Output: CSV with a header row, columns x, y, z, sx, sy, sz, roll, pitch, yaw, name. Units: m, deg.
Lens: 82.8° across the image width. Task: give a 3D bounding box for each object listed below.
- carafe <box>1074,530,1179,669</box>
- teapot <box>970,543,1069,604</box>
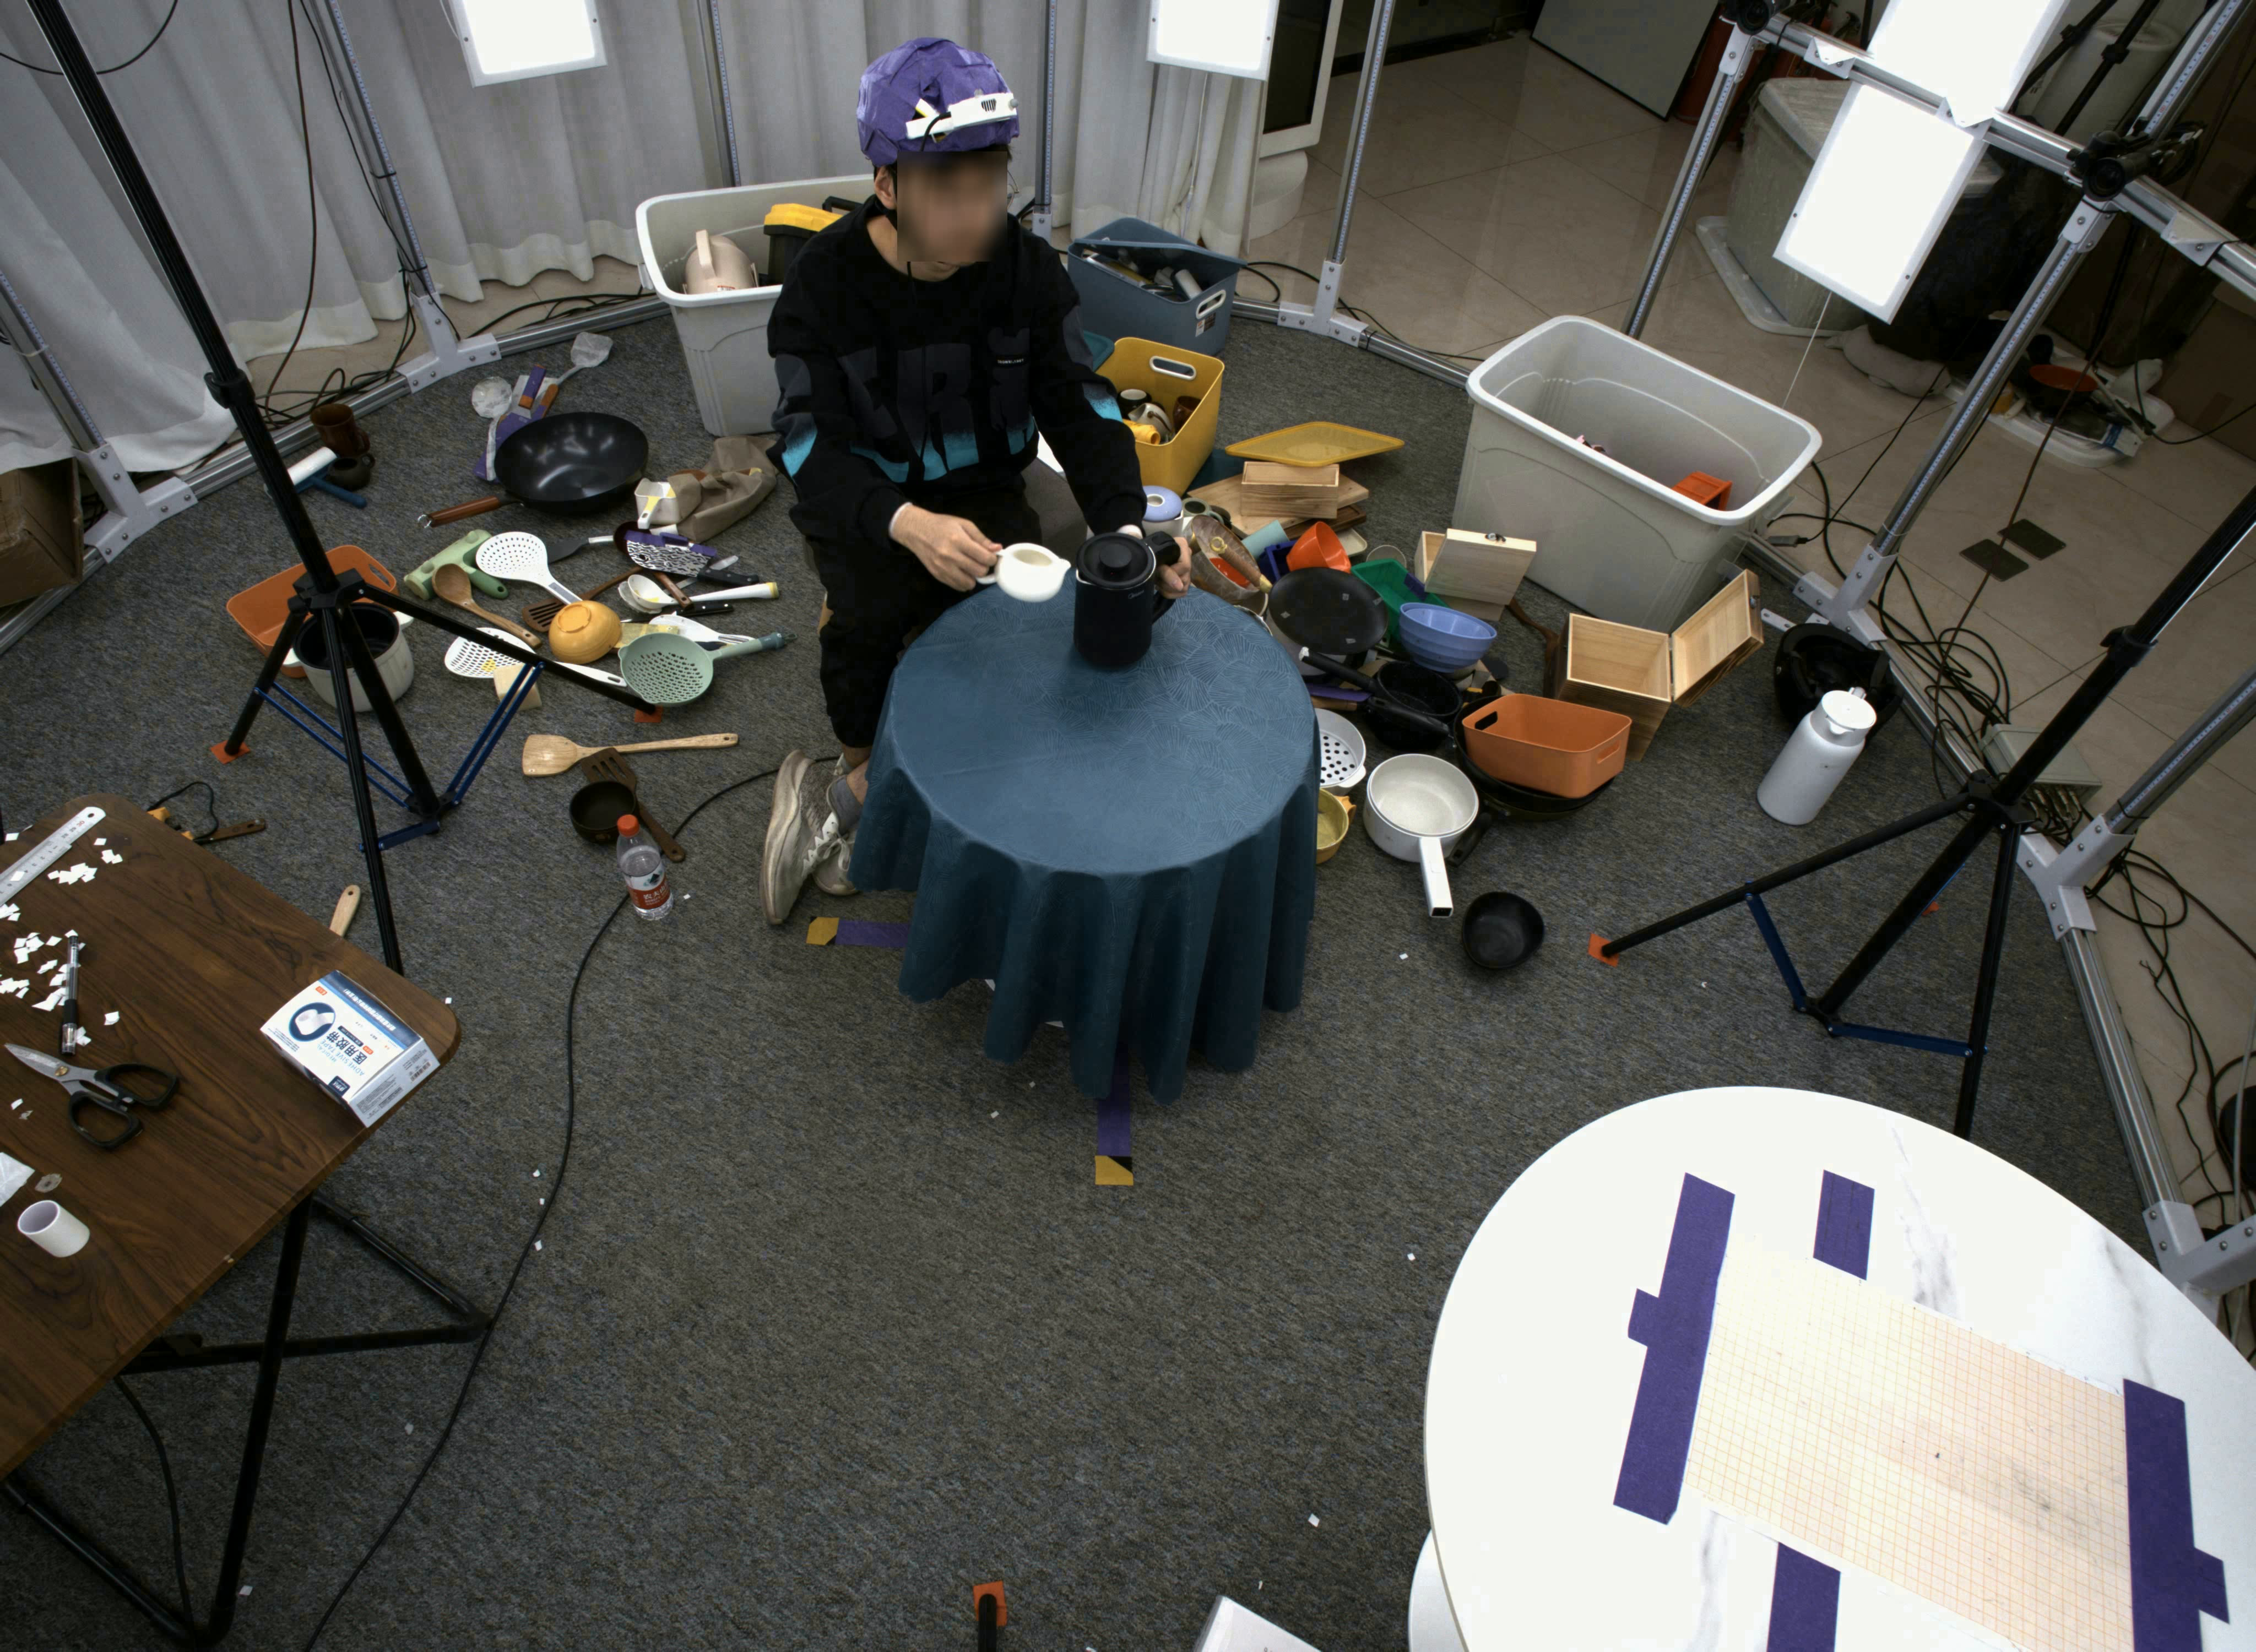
x,y,z,sx,sy,sz,roll,pitch,yaw,name
-0.001,-0.333,1.821,0.172,0.169,0.116,-32,60,-20,carafe
-0.144,-0.335,1.704,0.127,0.055,0.096,2,43,-19,teapot
